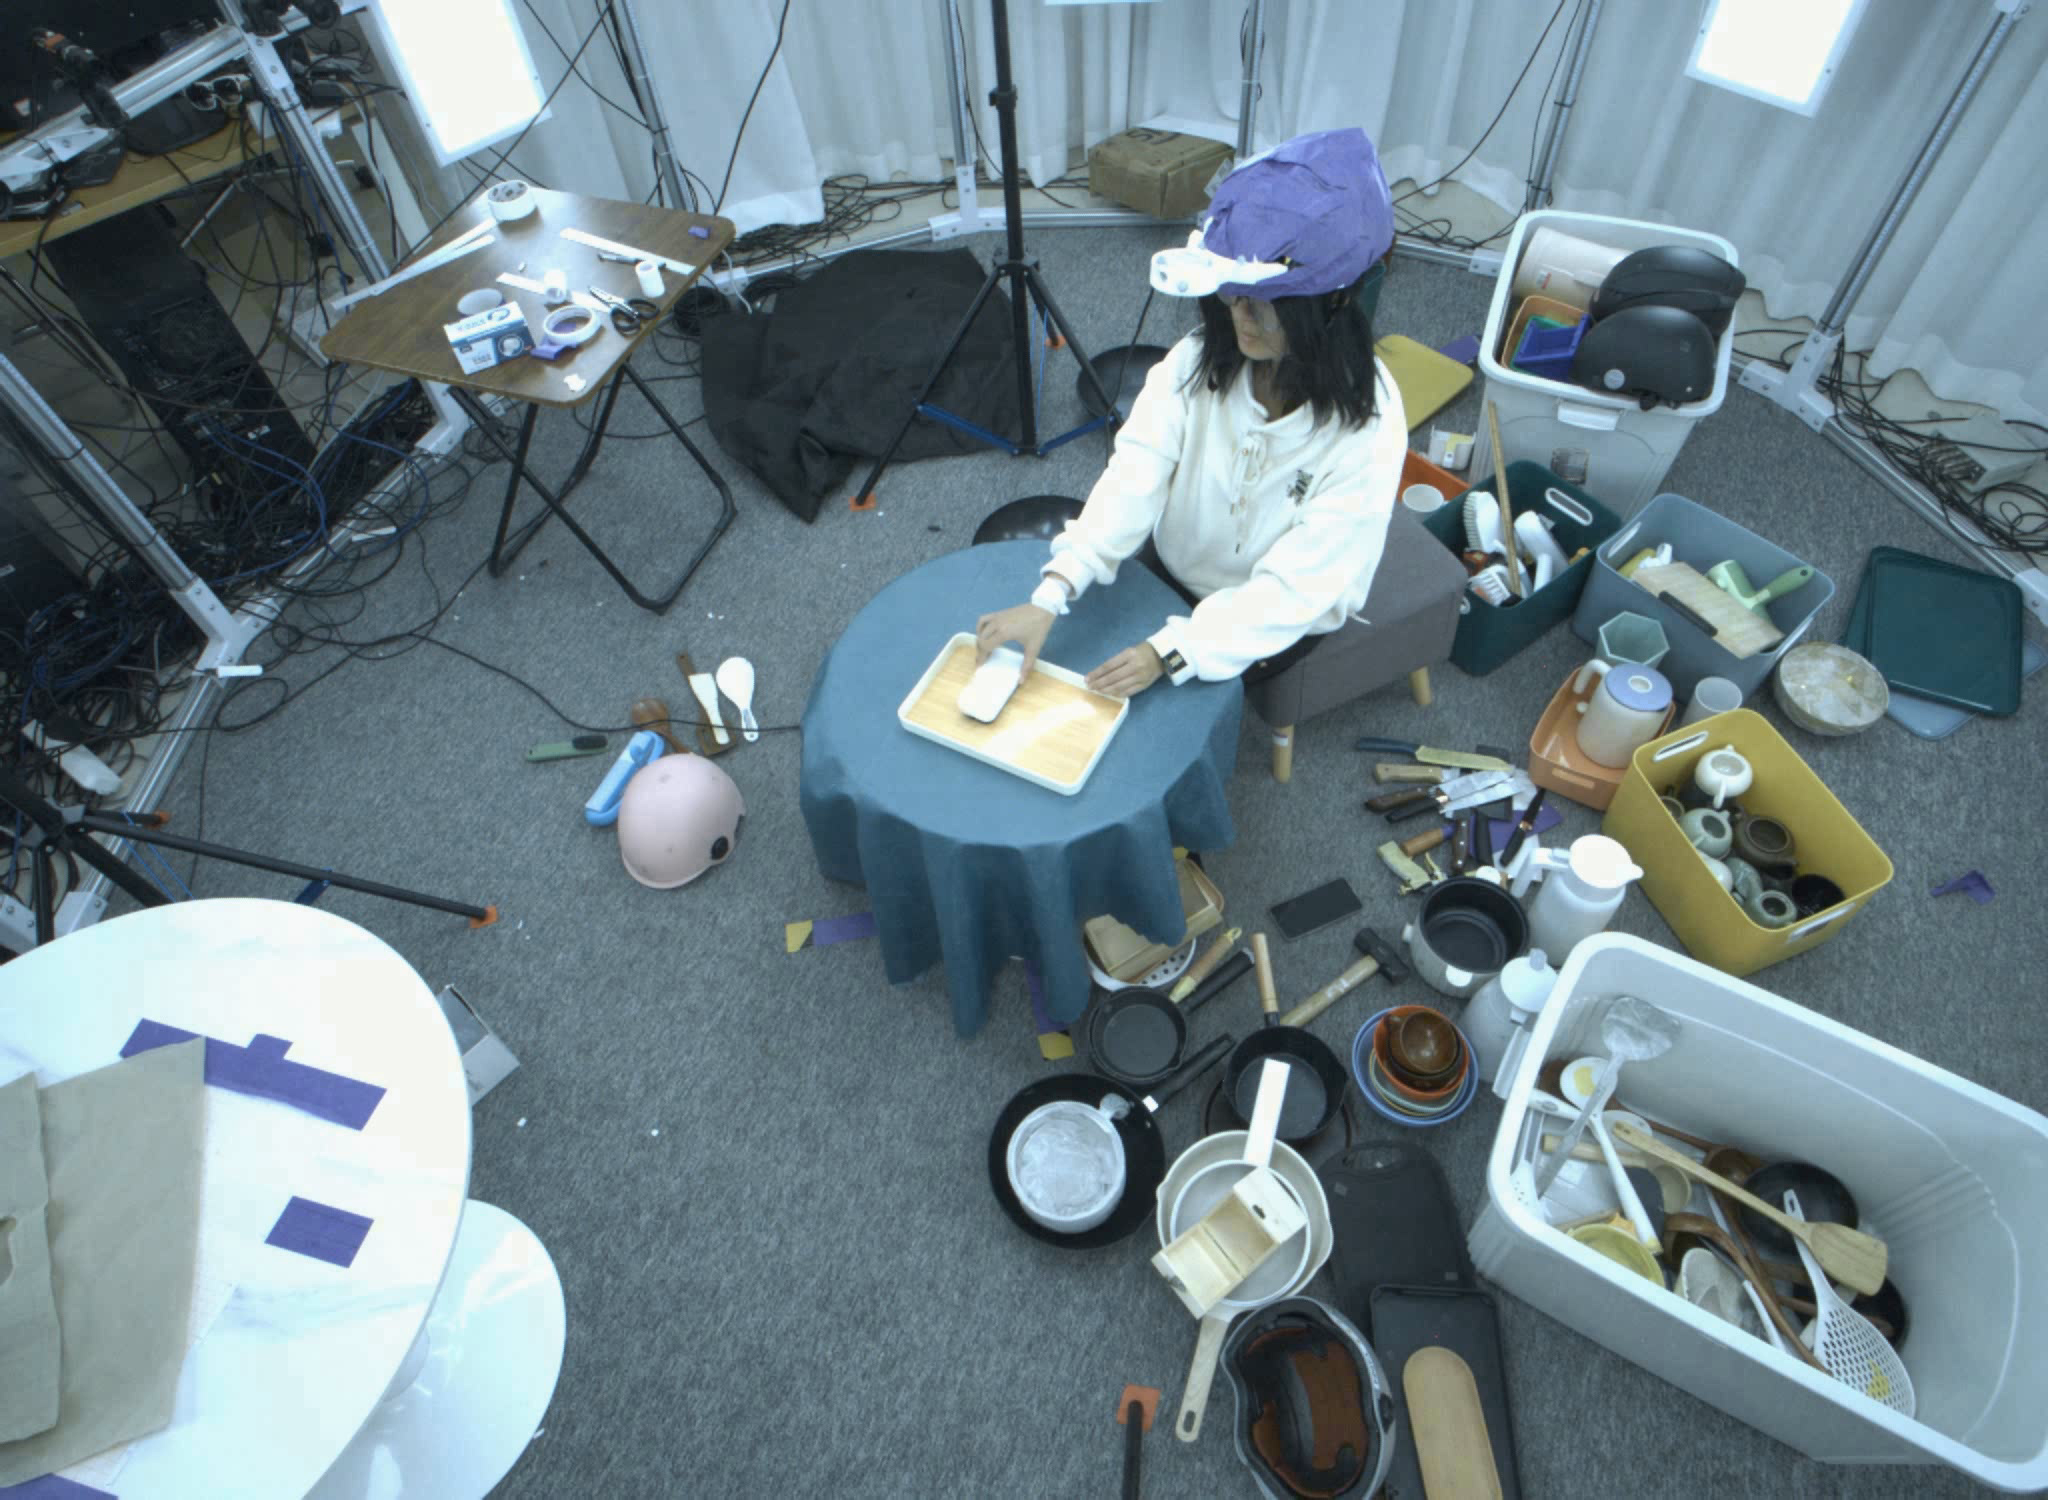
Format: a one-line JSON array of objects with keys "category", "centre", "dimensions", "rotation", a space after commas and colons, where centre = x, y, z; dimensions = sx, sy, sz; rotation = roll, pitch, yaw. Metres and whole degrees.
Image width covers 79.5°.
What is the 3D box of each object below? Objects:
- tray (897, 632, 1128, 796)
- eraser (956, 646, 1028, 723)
[{"category": "tray", "centre": [-0.017, -0.057, 1.813], "dimensions": [0.296, 0.028, 0.192], "rotation": [23, 59, 17]}, {"category": "eraser", "centre": [-0.046, -0.099, 1.832], "dimensions": [0.062, 0.035, 0.131], "rotation": [24, 58, 17]}]
